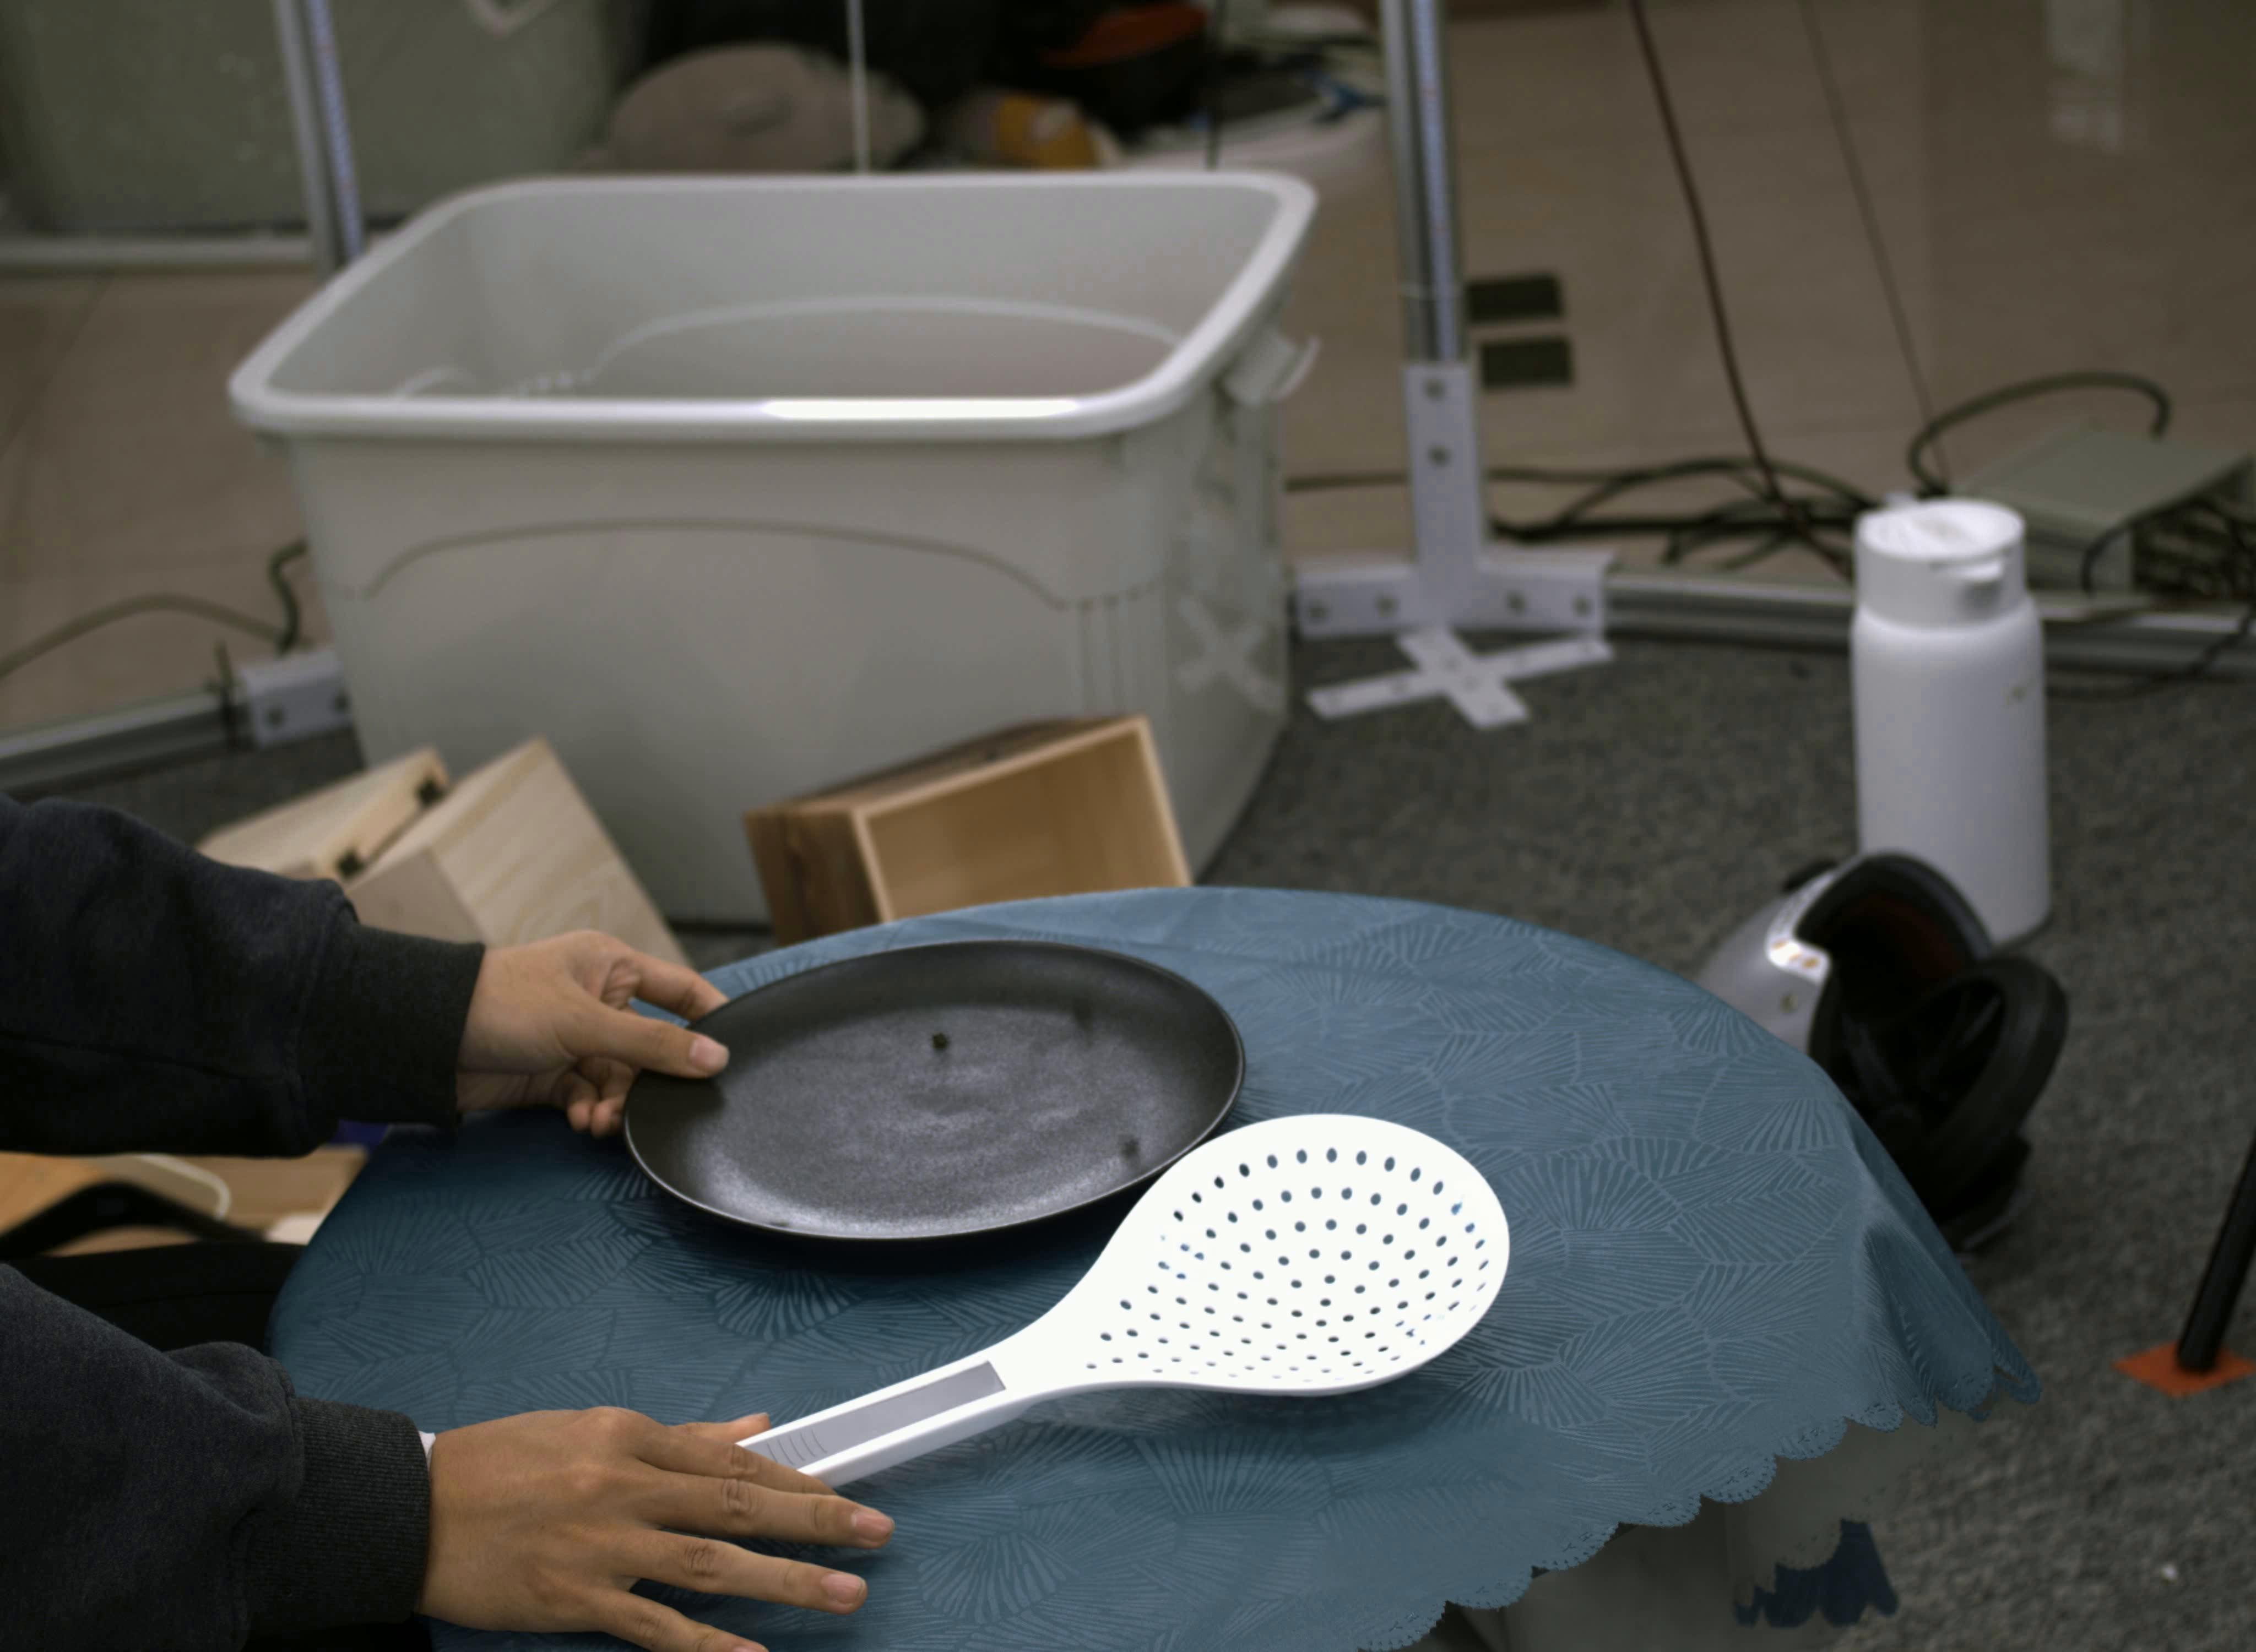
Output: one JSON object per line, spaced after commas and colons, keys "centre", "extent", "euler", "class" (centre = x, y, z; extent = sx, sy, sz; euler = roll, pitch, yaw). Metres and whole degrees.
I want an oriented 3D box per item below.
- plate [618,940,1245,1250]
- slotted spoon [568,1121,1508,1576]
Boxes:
{"centre": [-0.075, 0.109, 2.198], "extent": [0.244, 0.024, 0.240], "euler": [-4, 26, 2], "class": "plate"}
{"centre": [-0.030, 0.190, 1.984], "extent": [0.348, 0.046, 0.134], "euler": [-16, 39, -19], "class": "slotted spoon"}
